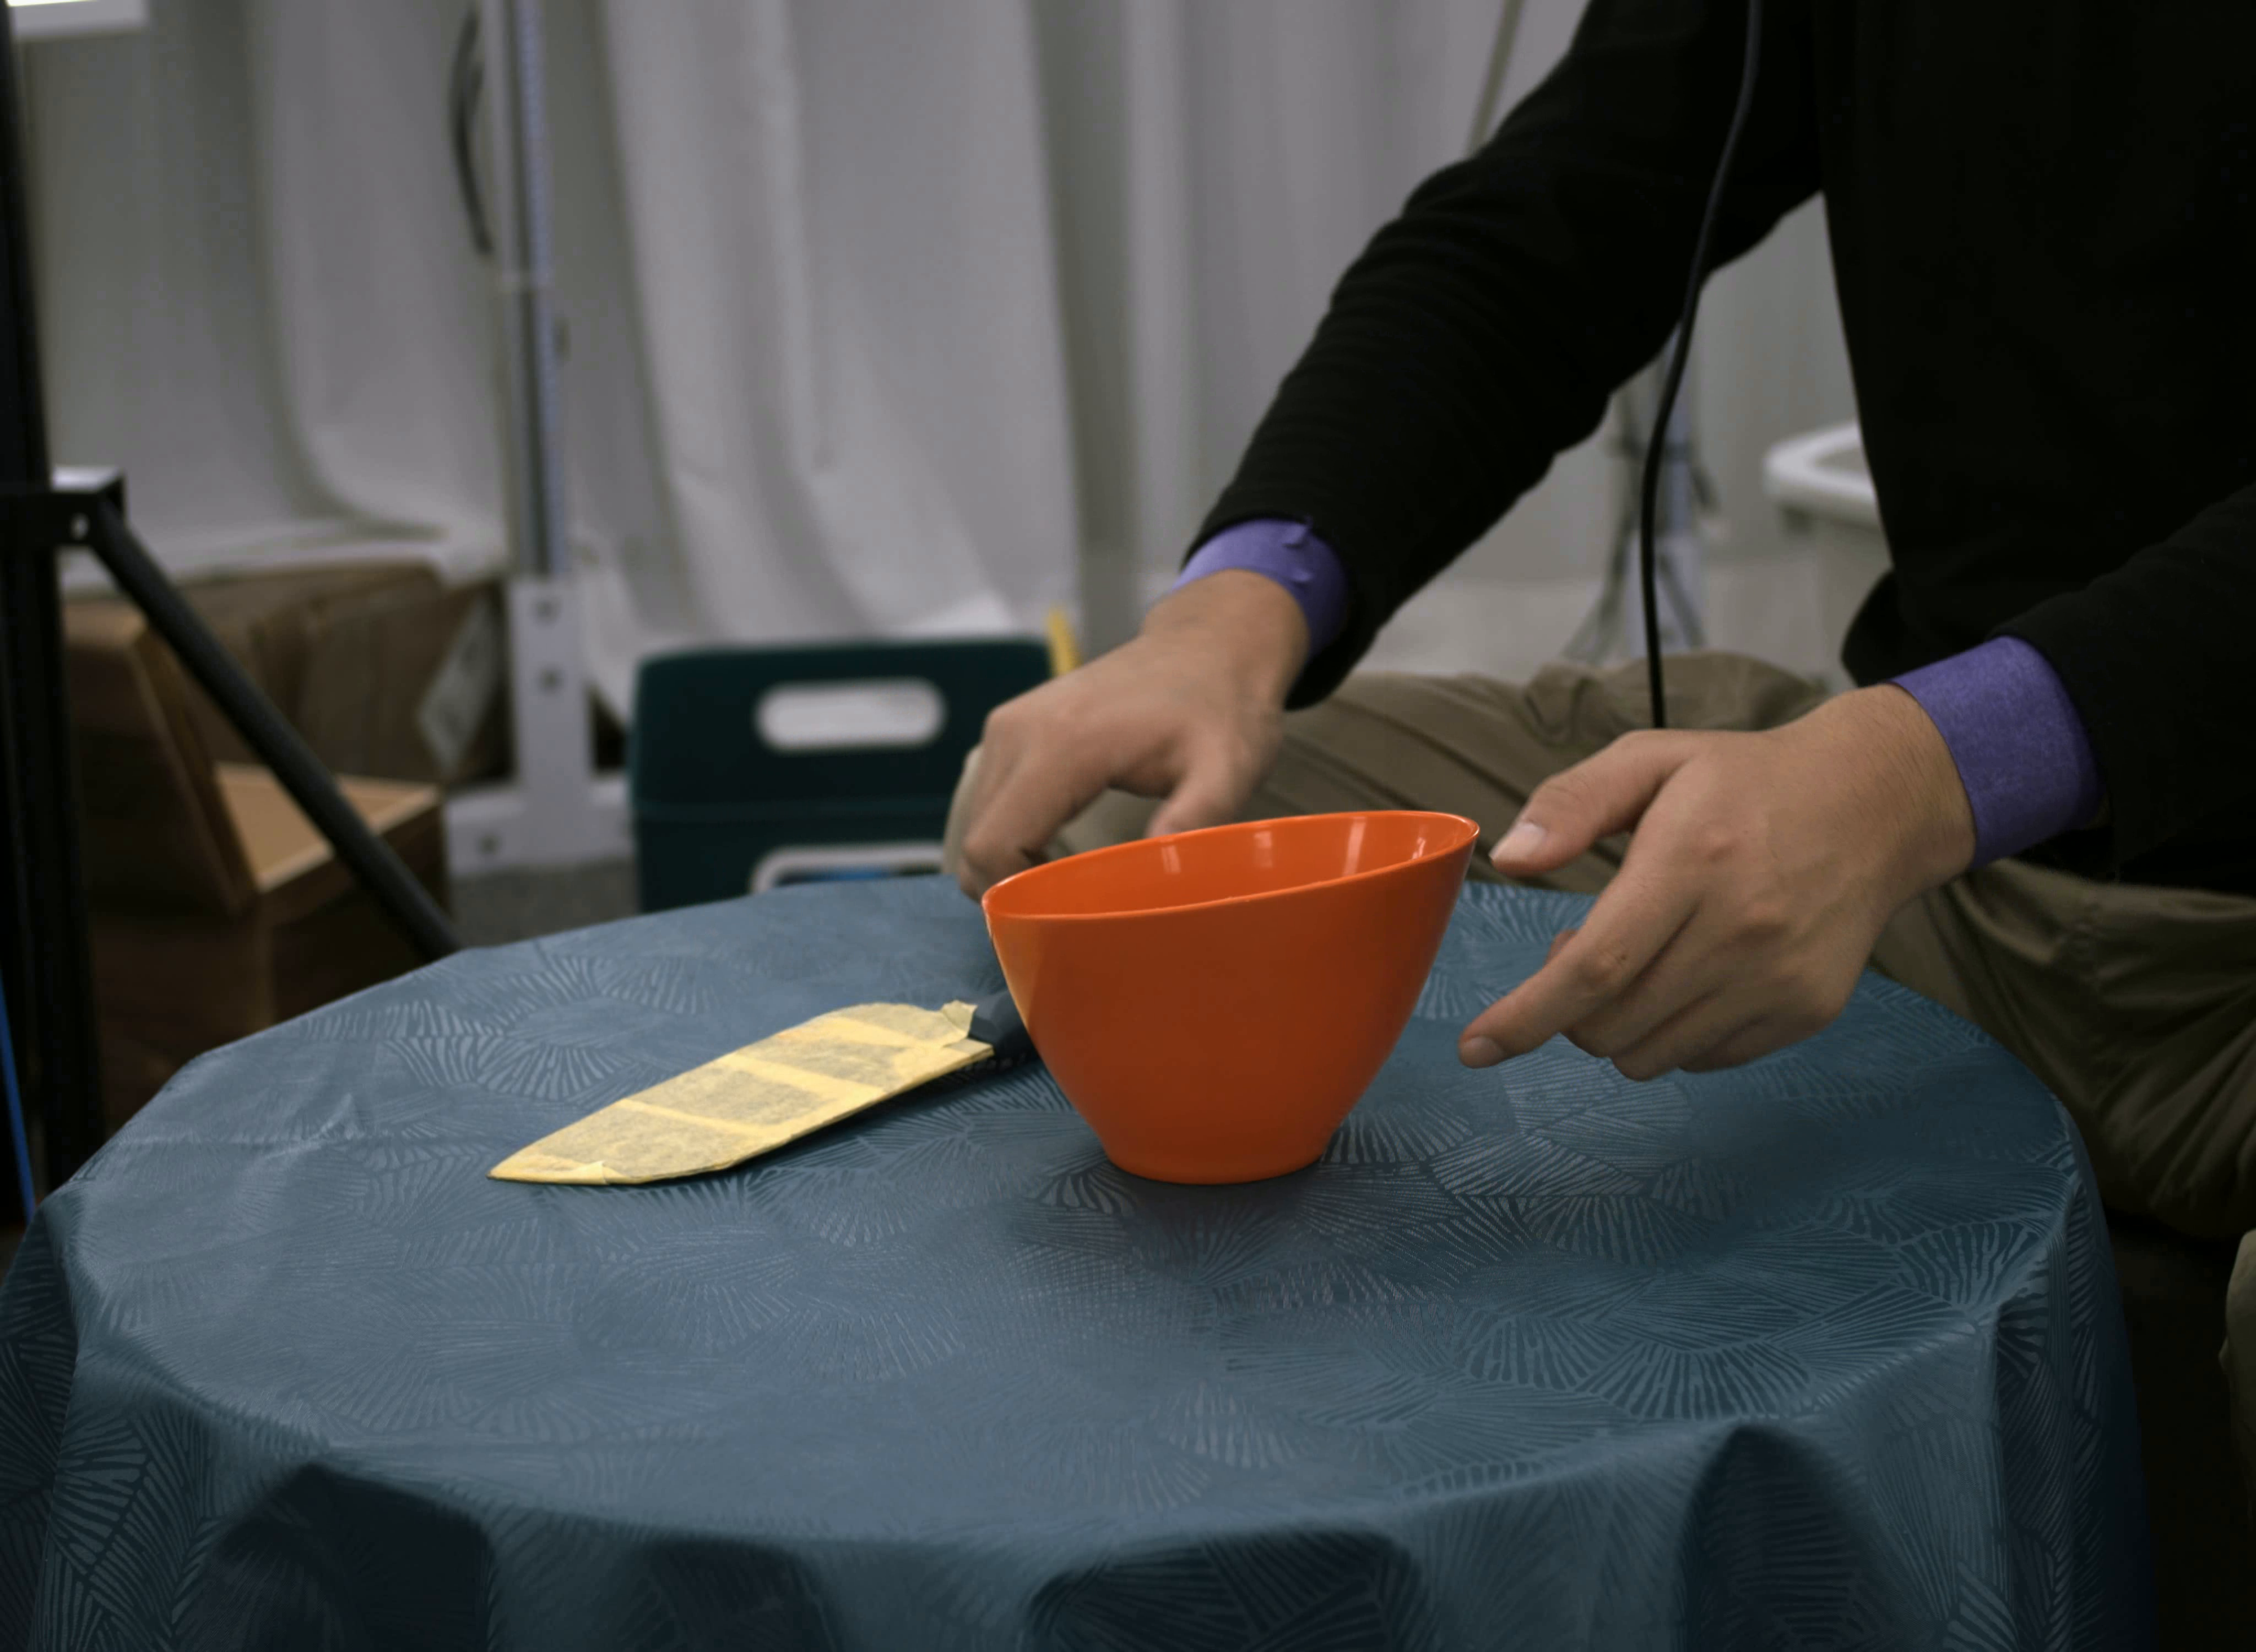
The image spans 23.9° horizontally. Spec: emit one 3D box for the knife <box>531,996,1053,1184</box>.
[{"bbox_3d":[-0.073,0.070,1.675,0.283,0.027,0.083,-18,23,-40],"label":"knife"}]

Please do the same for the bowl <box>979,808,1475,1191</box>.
[{"bbox_3d":[0.031,0.051,1.566,0.147,0.104,0.149,-4,16,0],"label":"bowl"}]
